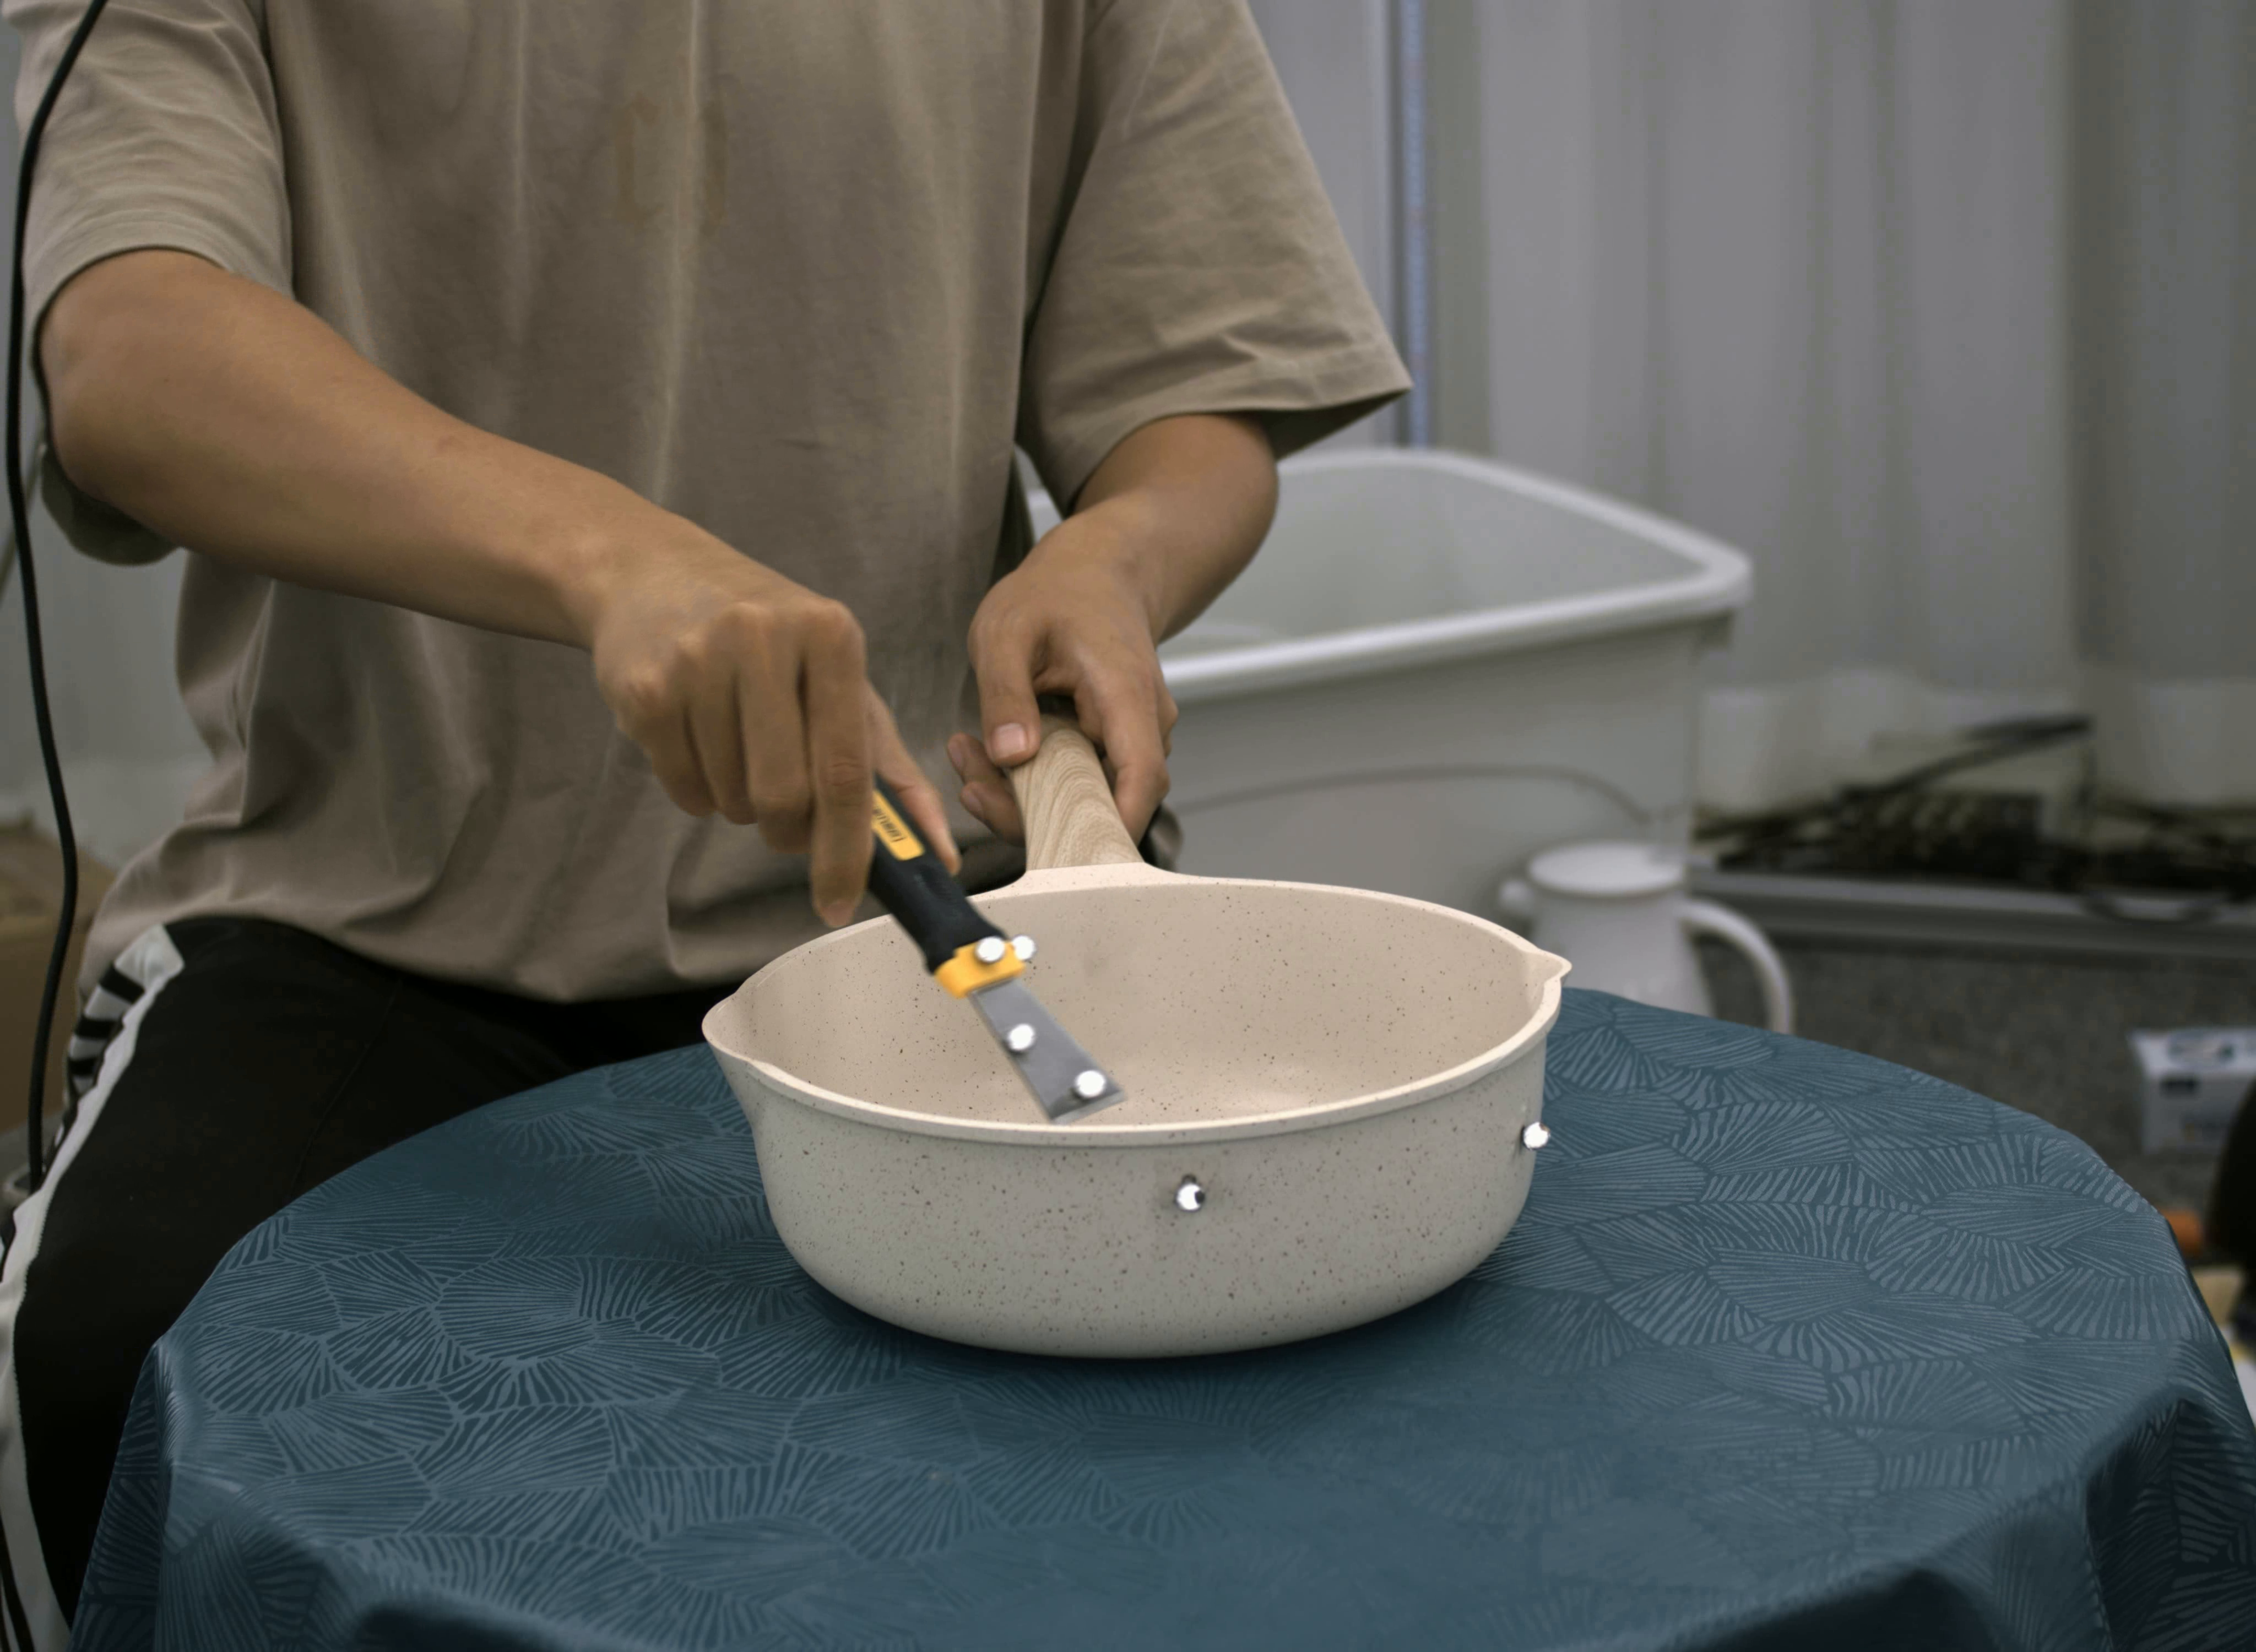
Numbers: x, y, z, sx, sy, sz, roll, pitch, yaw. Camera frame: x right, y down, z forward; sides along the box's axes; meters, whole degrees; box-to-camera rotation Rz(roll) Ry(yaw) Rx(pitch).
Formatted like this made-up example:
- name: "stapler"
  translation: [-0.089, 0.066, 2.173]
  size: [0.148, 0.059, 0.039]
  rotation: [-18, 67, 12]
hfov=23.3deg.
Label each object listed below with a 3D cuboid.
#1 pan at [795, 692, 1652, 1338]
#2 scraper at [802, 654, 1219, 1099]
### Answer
- name: "pan"
  translation: [0.020, 0.054, 1.739]
  size: [0.262, 0.101, 0.438]
  rotation: [-7, 15, -6]
- name: "scraper"
  translation: [-0.038, 0.014, 1.617]
  size: [0.039, 0.015, 0.172]
  rotation: [-25, 68, -43]
